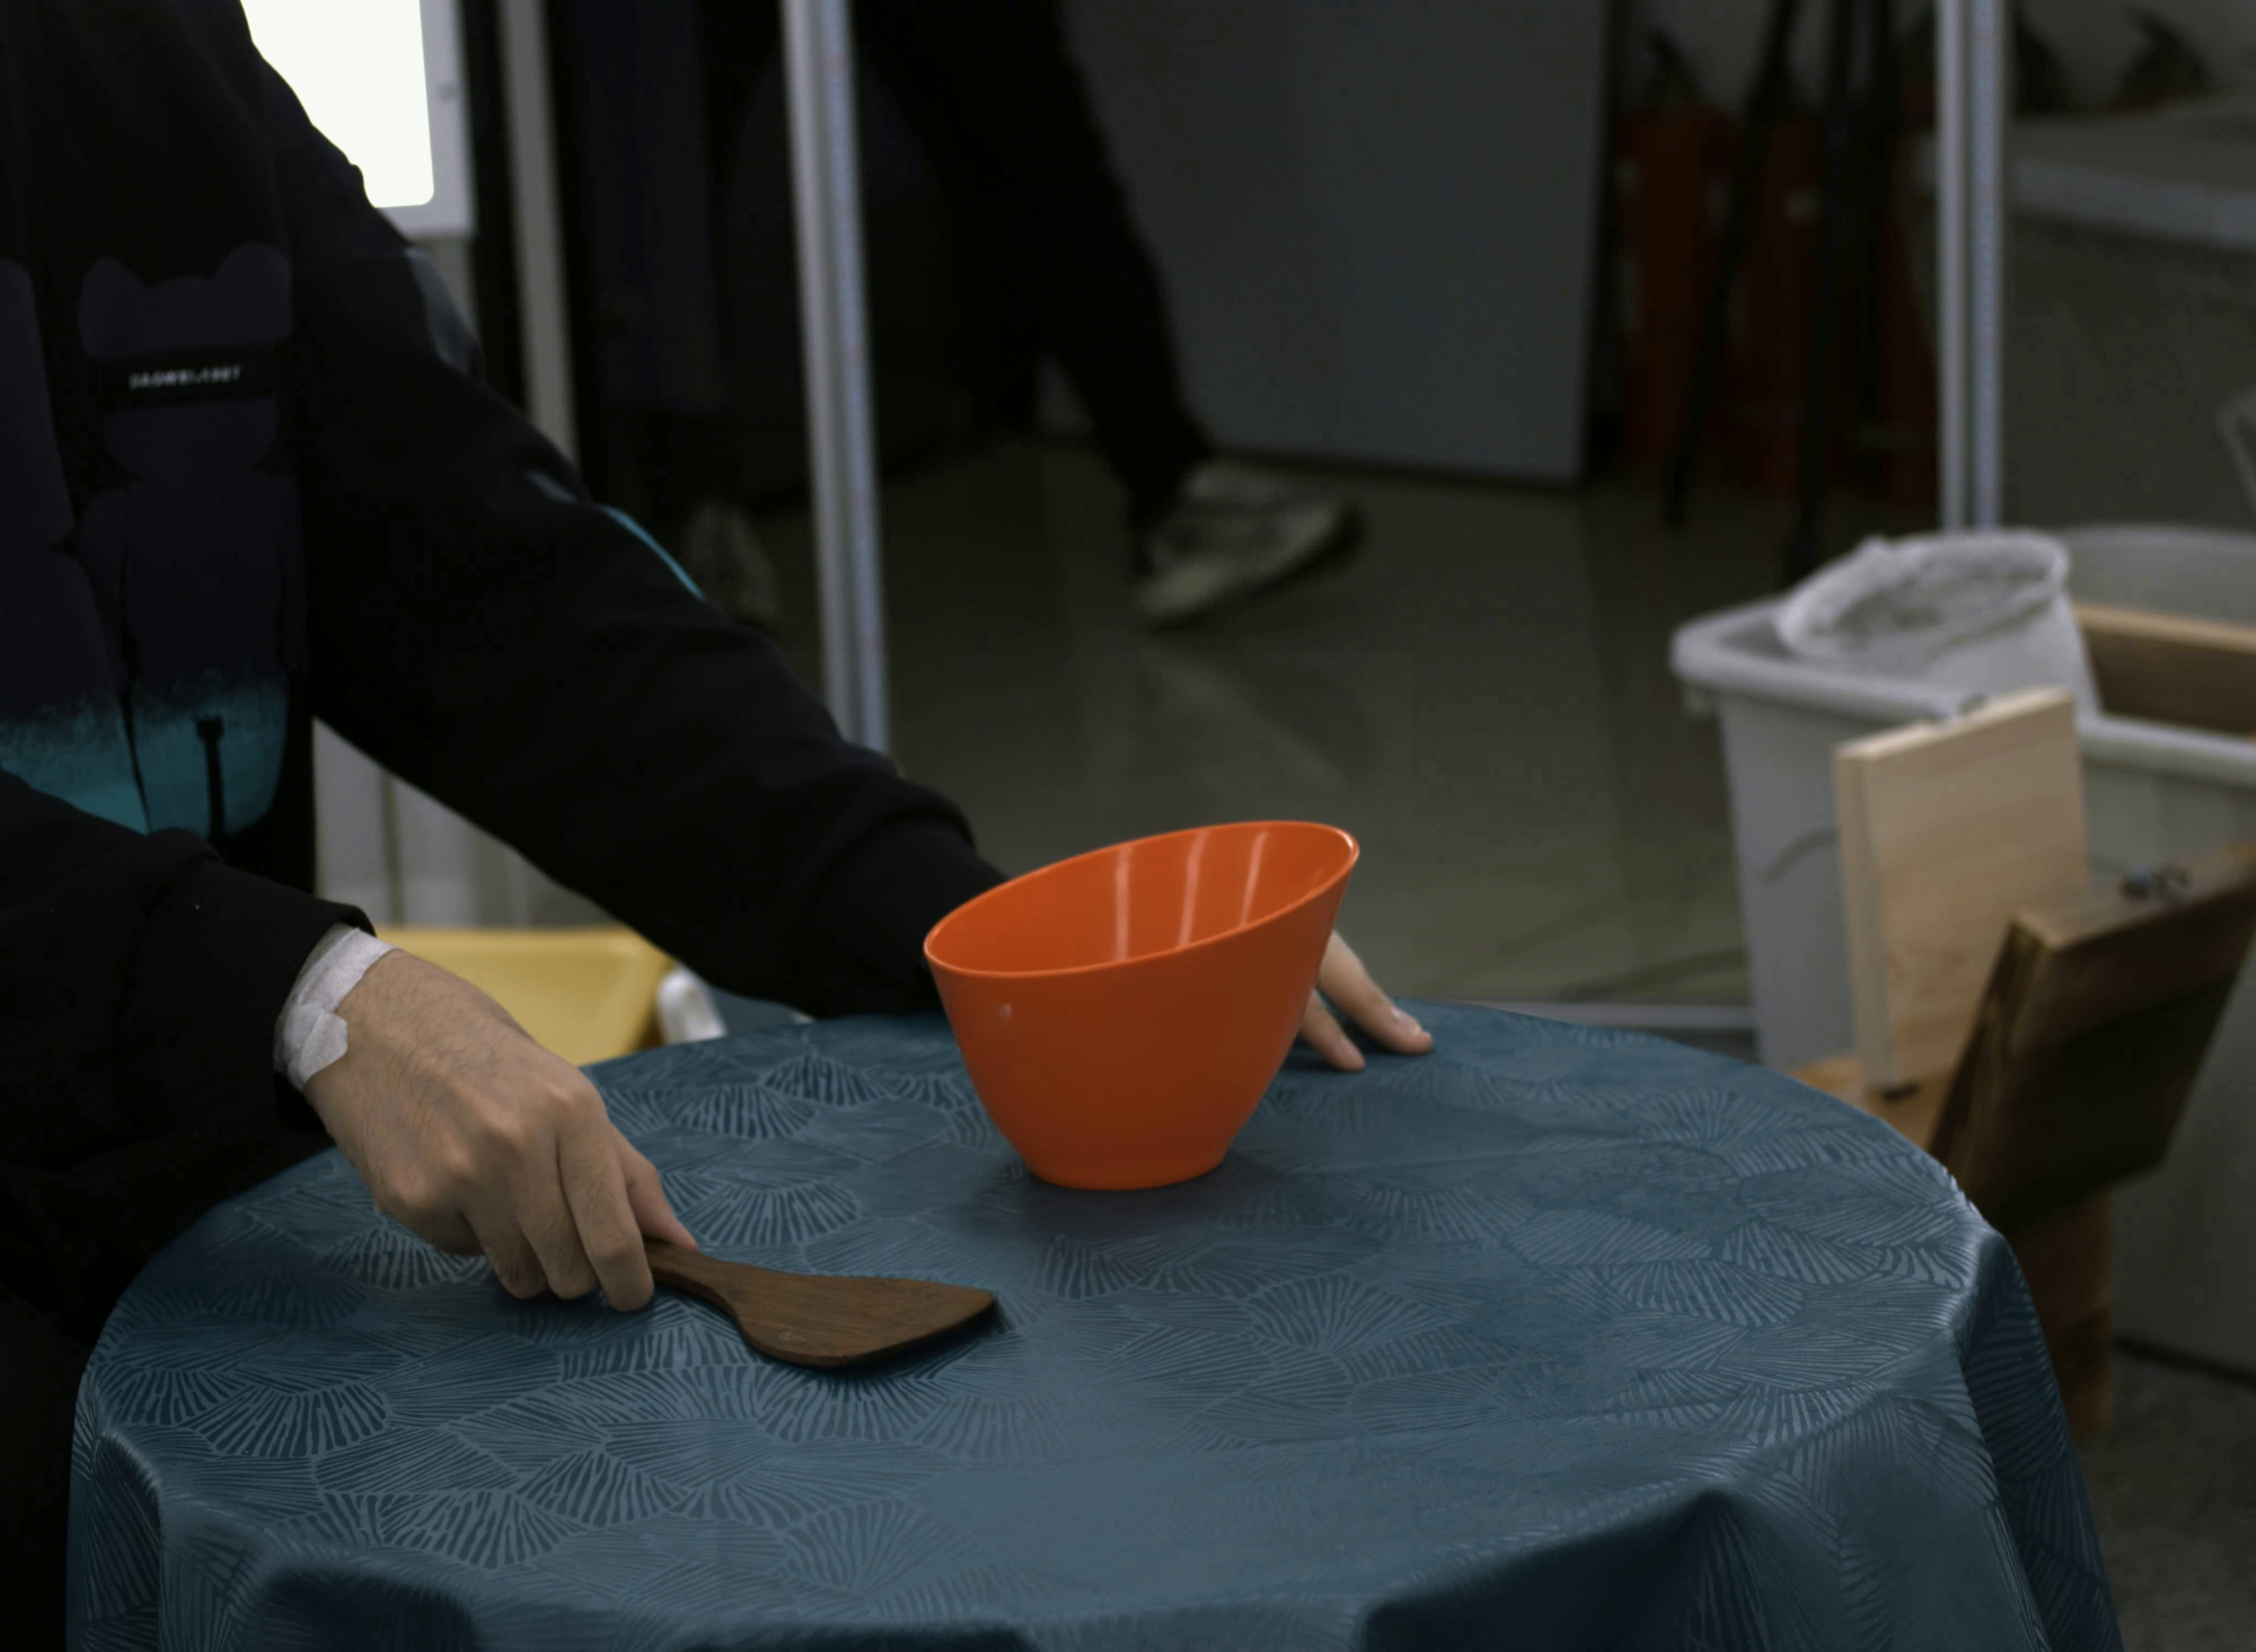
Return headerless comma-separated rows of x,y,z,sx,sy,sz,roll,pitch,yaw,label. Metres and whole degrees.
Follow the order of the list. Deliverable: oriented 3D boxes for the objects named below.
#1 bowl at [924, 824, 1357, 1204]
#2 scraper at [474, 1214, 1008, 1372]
0.008,0.065,1.790,0.146,0.106,0.148,-6,14,0,bowl
-0.130,0.144,1.698,0.213,0.011,0.074,10,18,43,scraper
